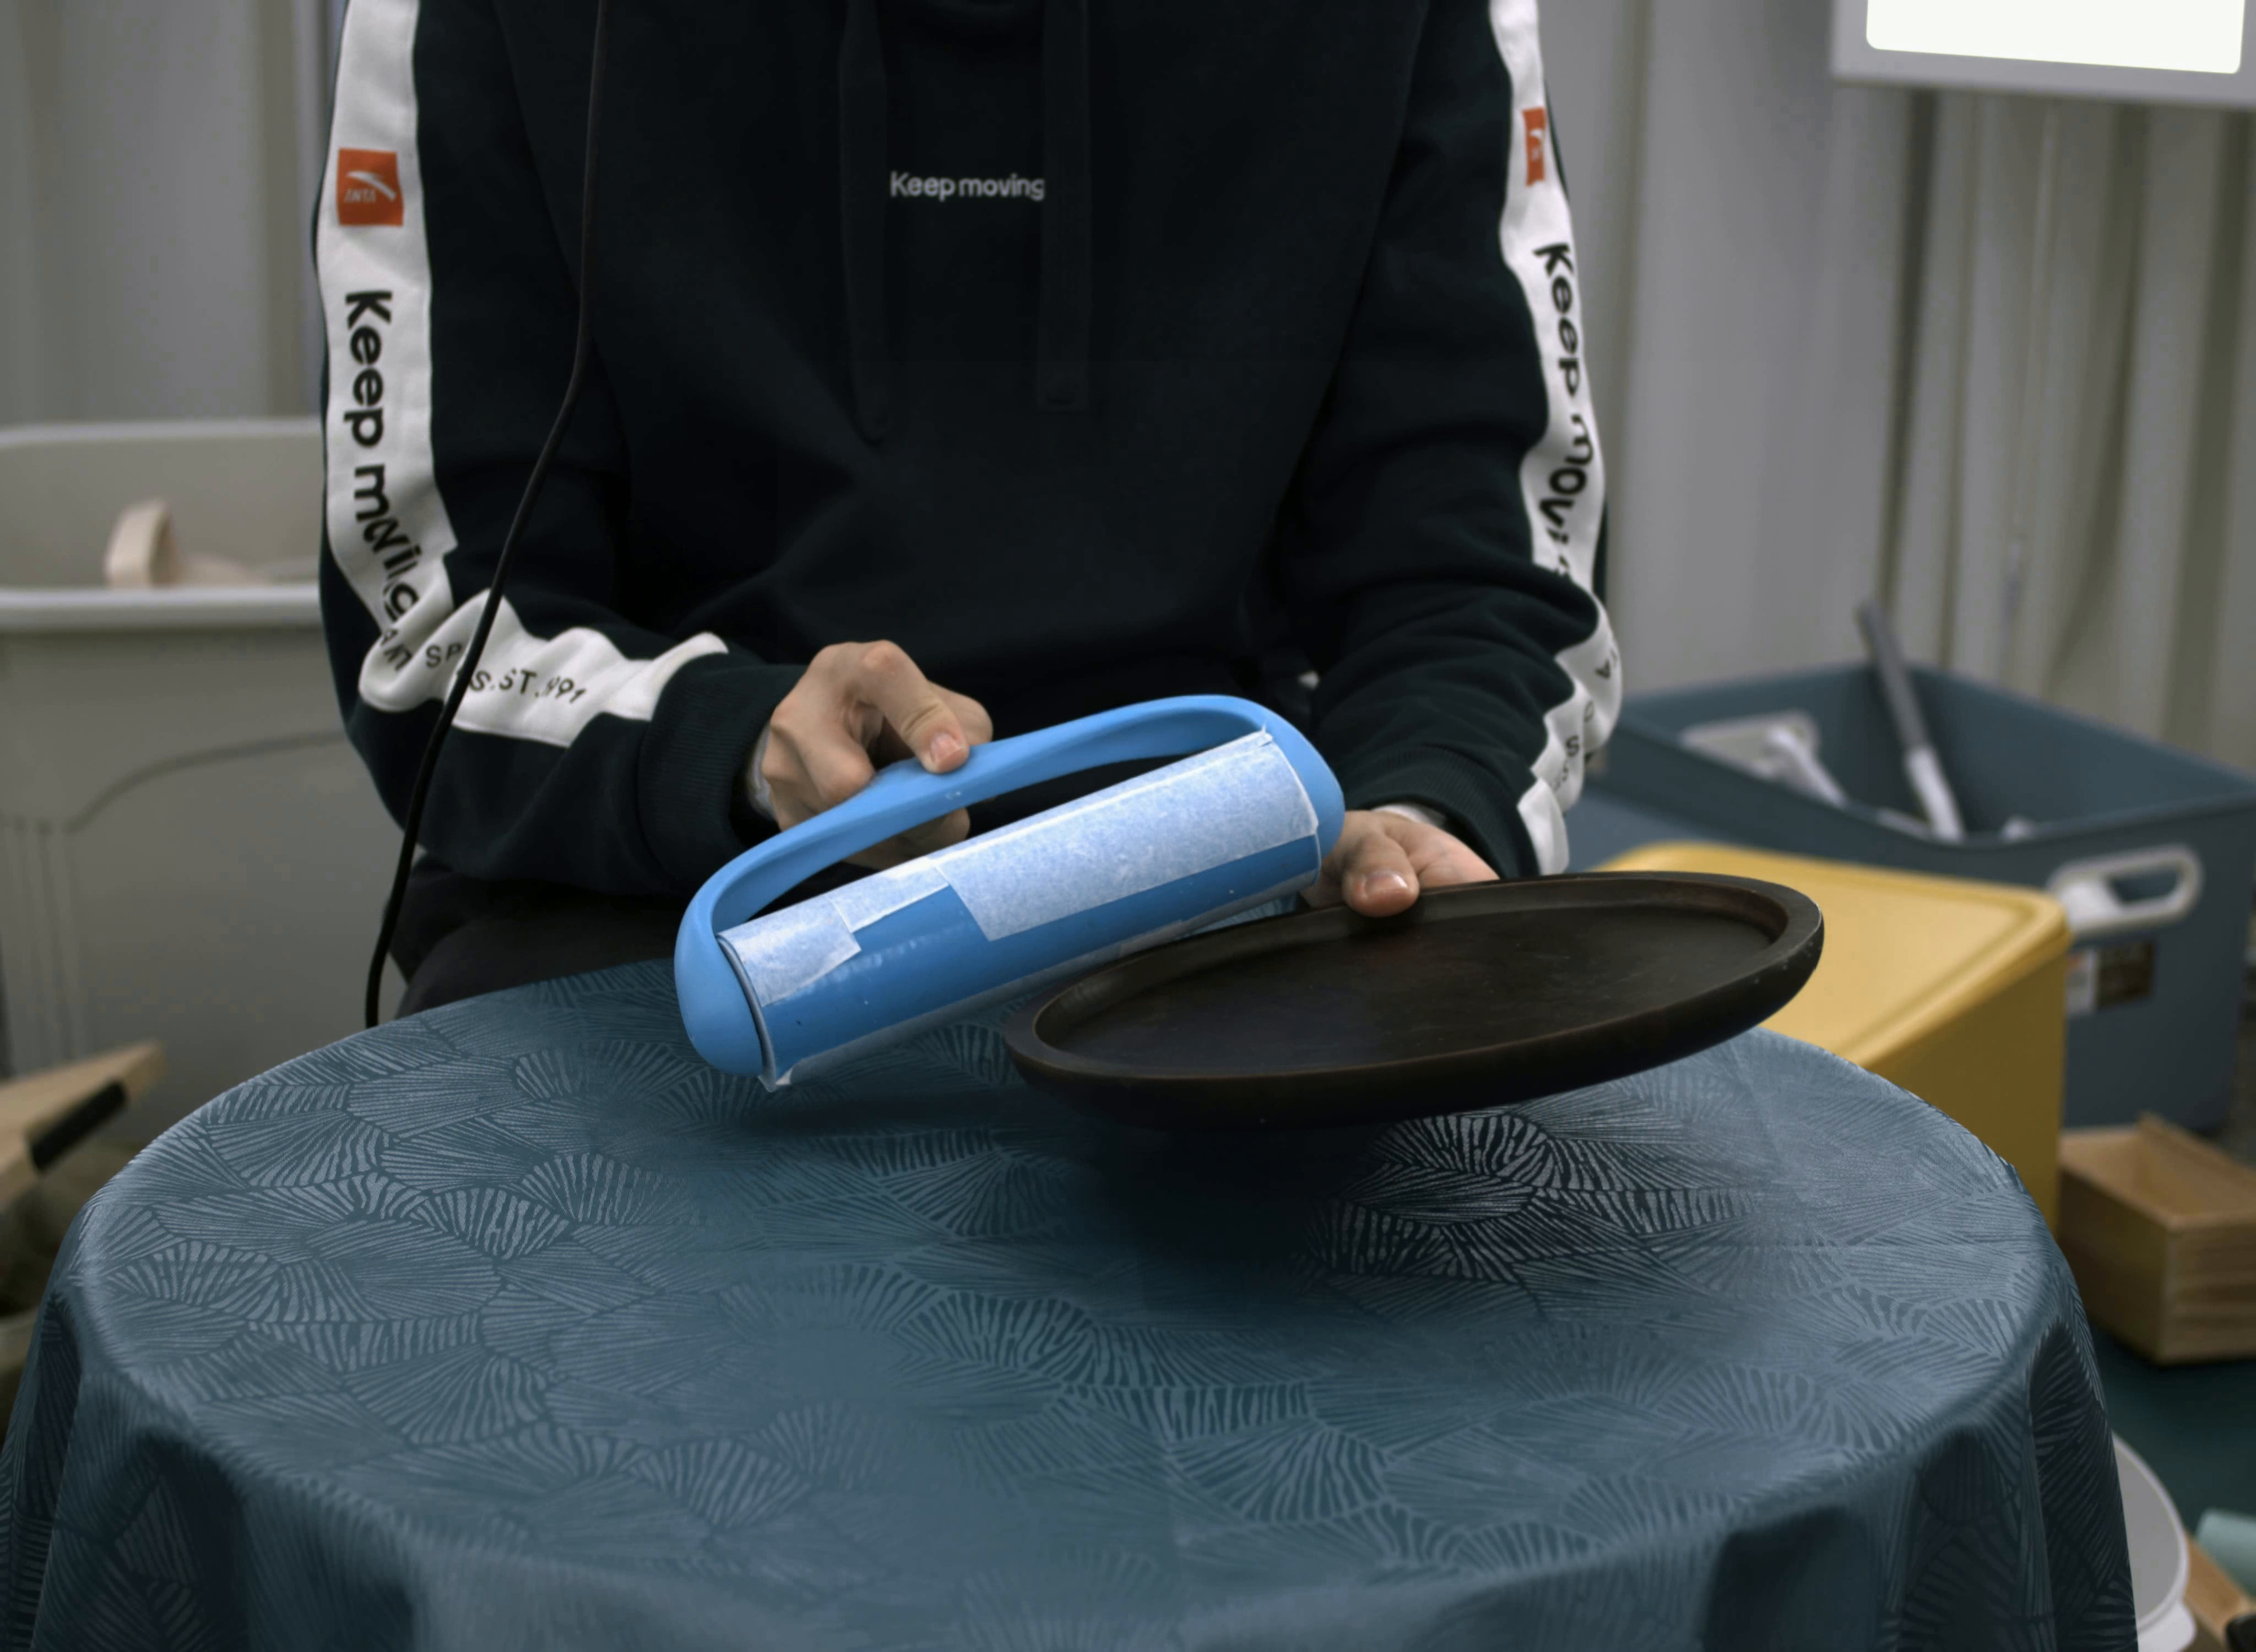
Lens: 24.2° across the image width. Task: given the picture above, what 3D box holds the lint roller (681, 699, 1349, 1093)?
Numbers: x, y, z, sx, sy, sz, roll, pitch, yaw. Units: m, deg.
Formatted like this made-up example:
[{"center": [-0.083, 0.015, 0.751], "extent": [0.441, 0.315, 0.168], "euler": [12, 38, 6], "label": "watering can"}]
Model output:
[{"center": [-0.058, 0.009, 1.738], "extent": [0.229, 0.069, 0.178], "euler": [-23, 25, -18], "label": "lint roller"}]

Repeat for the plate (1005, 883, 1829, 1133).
[{"center": [0.088, 0.053, 1.603], "extent": [0.254, 0.029, 0.254], "euler": [-7, 10, 2], "label": "plate"}]
